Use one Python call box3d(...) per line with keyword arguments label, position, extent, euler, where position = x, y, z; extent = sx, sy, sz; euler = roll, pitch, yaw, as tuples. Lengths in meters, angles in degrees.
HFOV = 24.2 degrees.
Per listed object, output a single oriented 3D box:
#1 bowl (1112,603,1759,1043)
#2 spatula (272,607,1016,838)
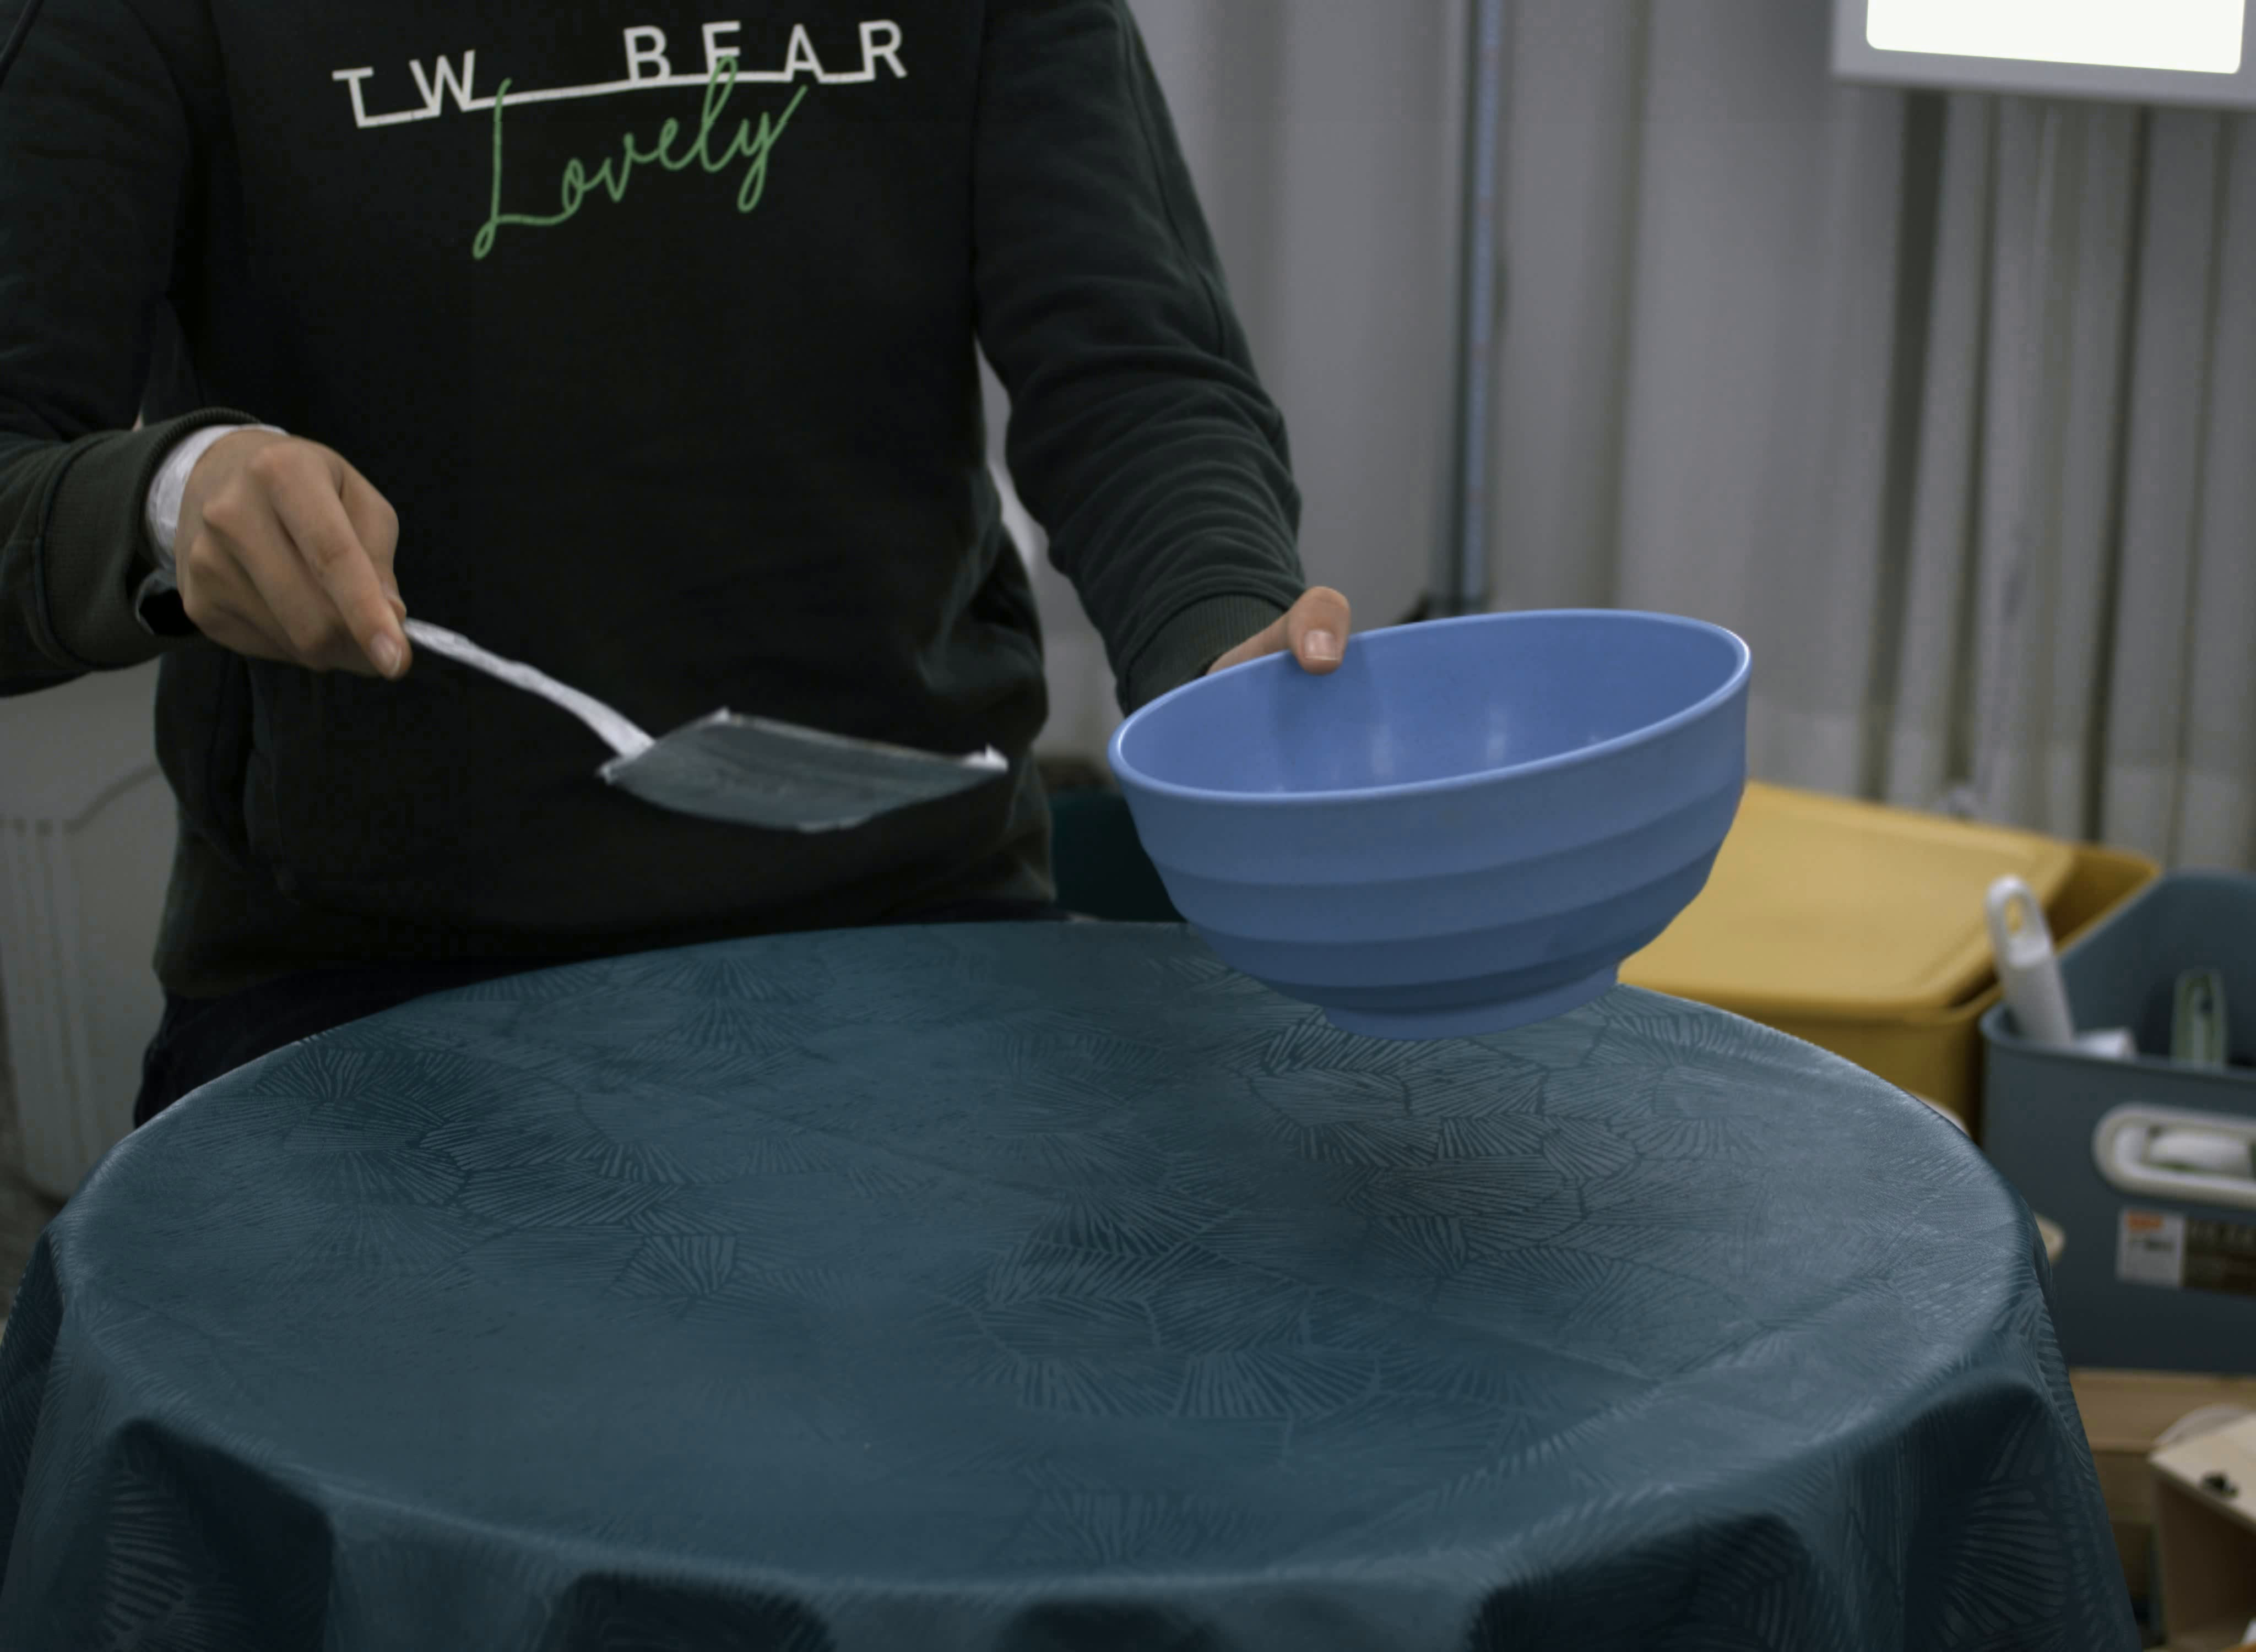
box3d(label="bowl", position=(0.098, 0.006, 1.595), extent=(0.196, 0.096, 0.195), euler=(-8, 17, 3))
box3d(label="spatula", position=(-0.165, -0.041, 1.515), extent=(0.099, 0.045, 0.360), euler=(7, 10, -37))
